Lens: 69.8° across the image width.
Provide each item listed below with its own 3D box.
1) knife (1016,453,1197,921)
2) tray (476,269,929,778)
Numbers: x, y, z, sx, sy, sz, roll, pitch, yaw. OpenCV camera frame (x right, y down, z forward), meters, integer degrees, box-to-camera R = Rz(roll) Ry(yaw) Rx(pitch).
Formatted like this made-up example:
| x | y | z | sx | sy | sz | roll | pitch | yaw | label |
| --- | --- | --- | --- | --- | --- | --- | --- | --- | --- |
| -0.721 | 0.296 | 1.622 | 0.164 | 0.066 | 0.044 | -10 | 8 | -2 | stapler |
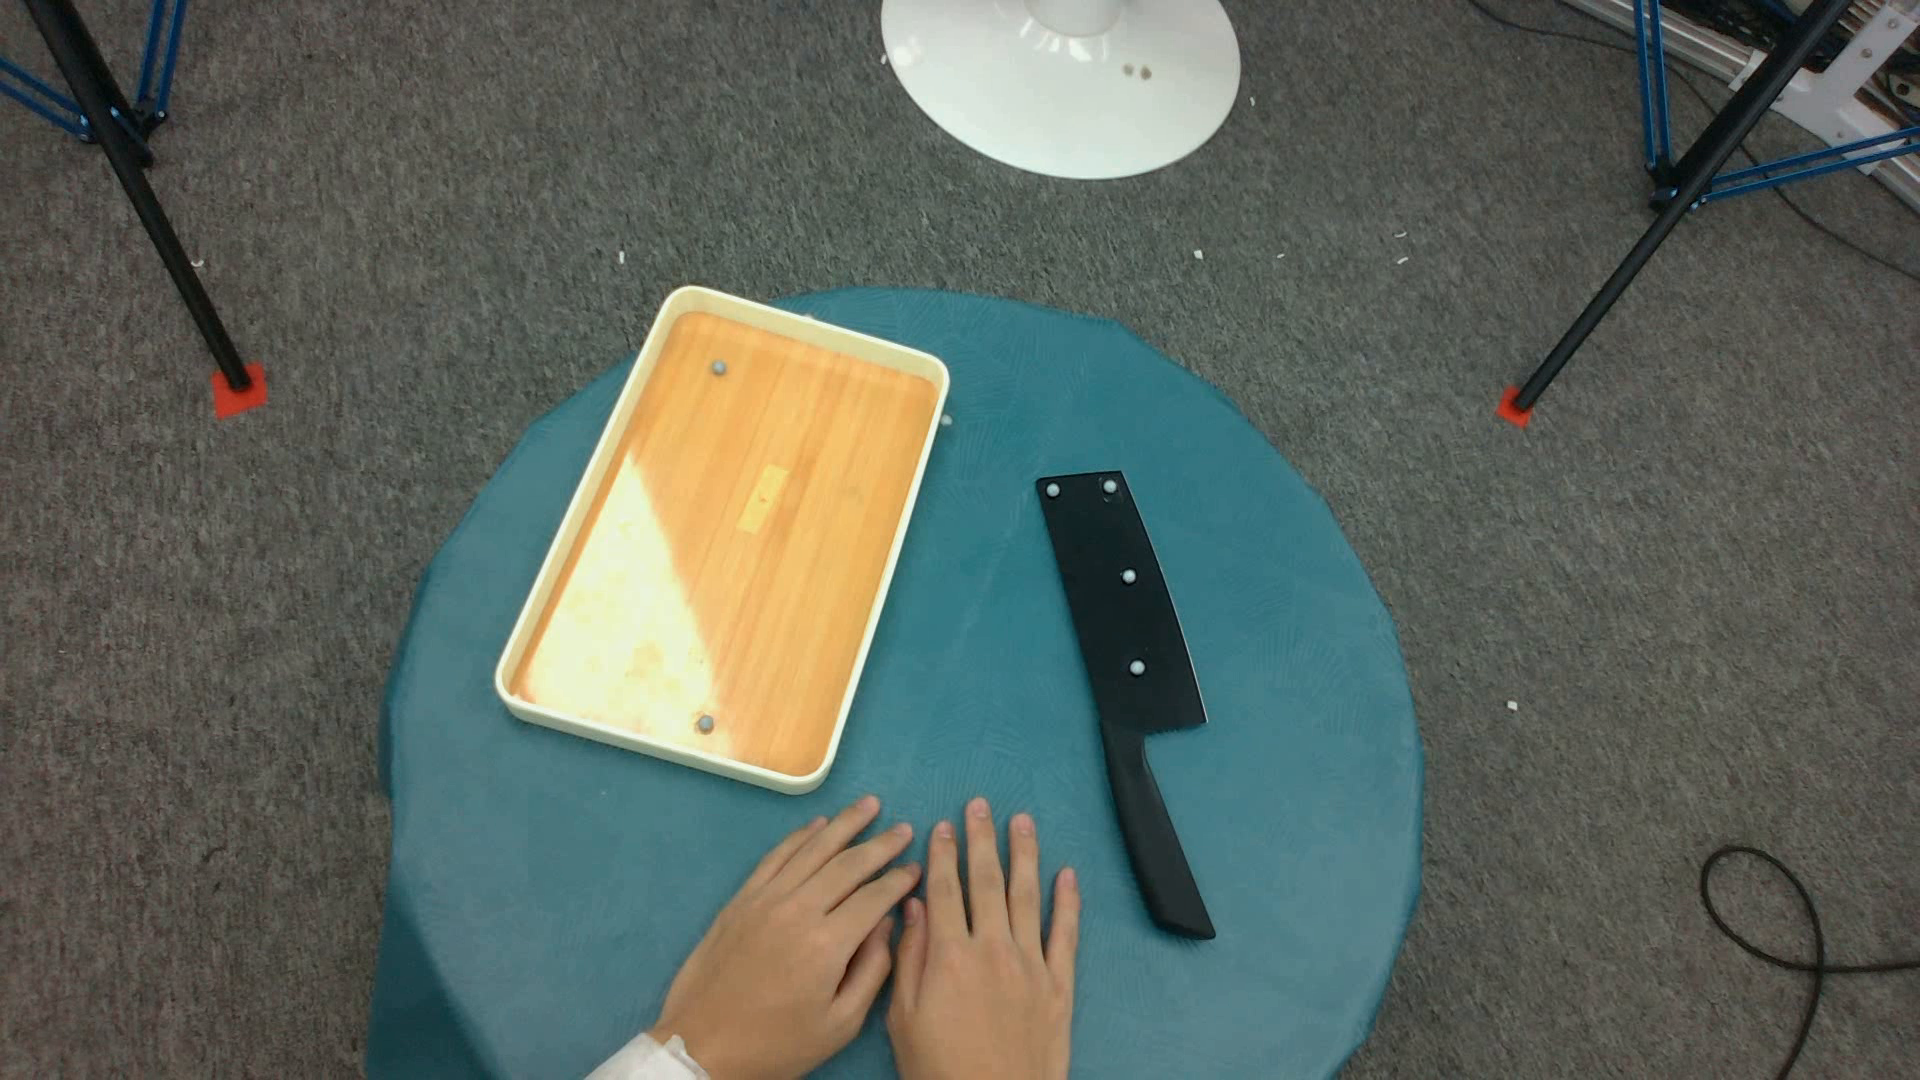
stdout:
| x | y | z | sx | sy | sz | roll | pitch | yaw | label |
| --- | --- | --- | --- | --- | --- | --- | --- | --- | --- |
| 0.095 | 0.076 | 0.825 | 0.081 | 0.021 | 0.303 | -3 | 62 | -12 | knife |
| -0.143 | -0.020 | 0.825 | 0.191 | 0.027 | 0.301 | 16 | 61 | -1 | tray |
